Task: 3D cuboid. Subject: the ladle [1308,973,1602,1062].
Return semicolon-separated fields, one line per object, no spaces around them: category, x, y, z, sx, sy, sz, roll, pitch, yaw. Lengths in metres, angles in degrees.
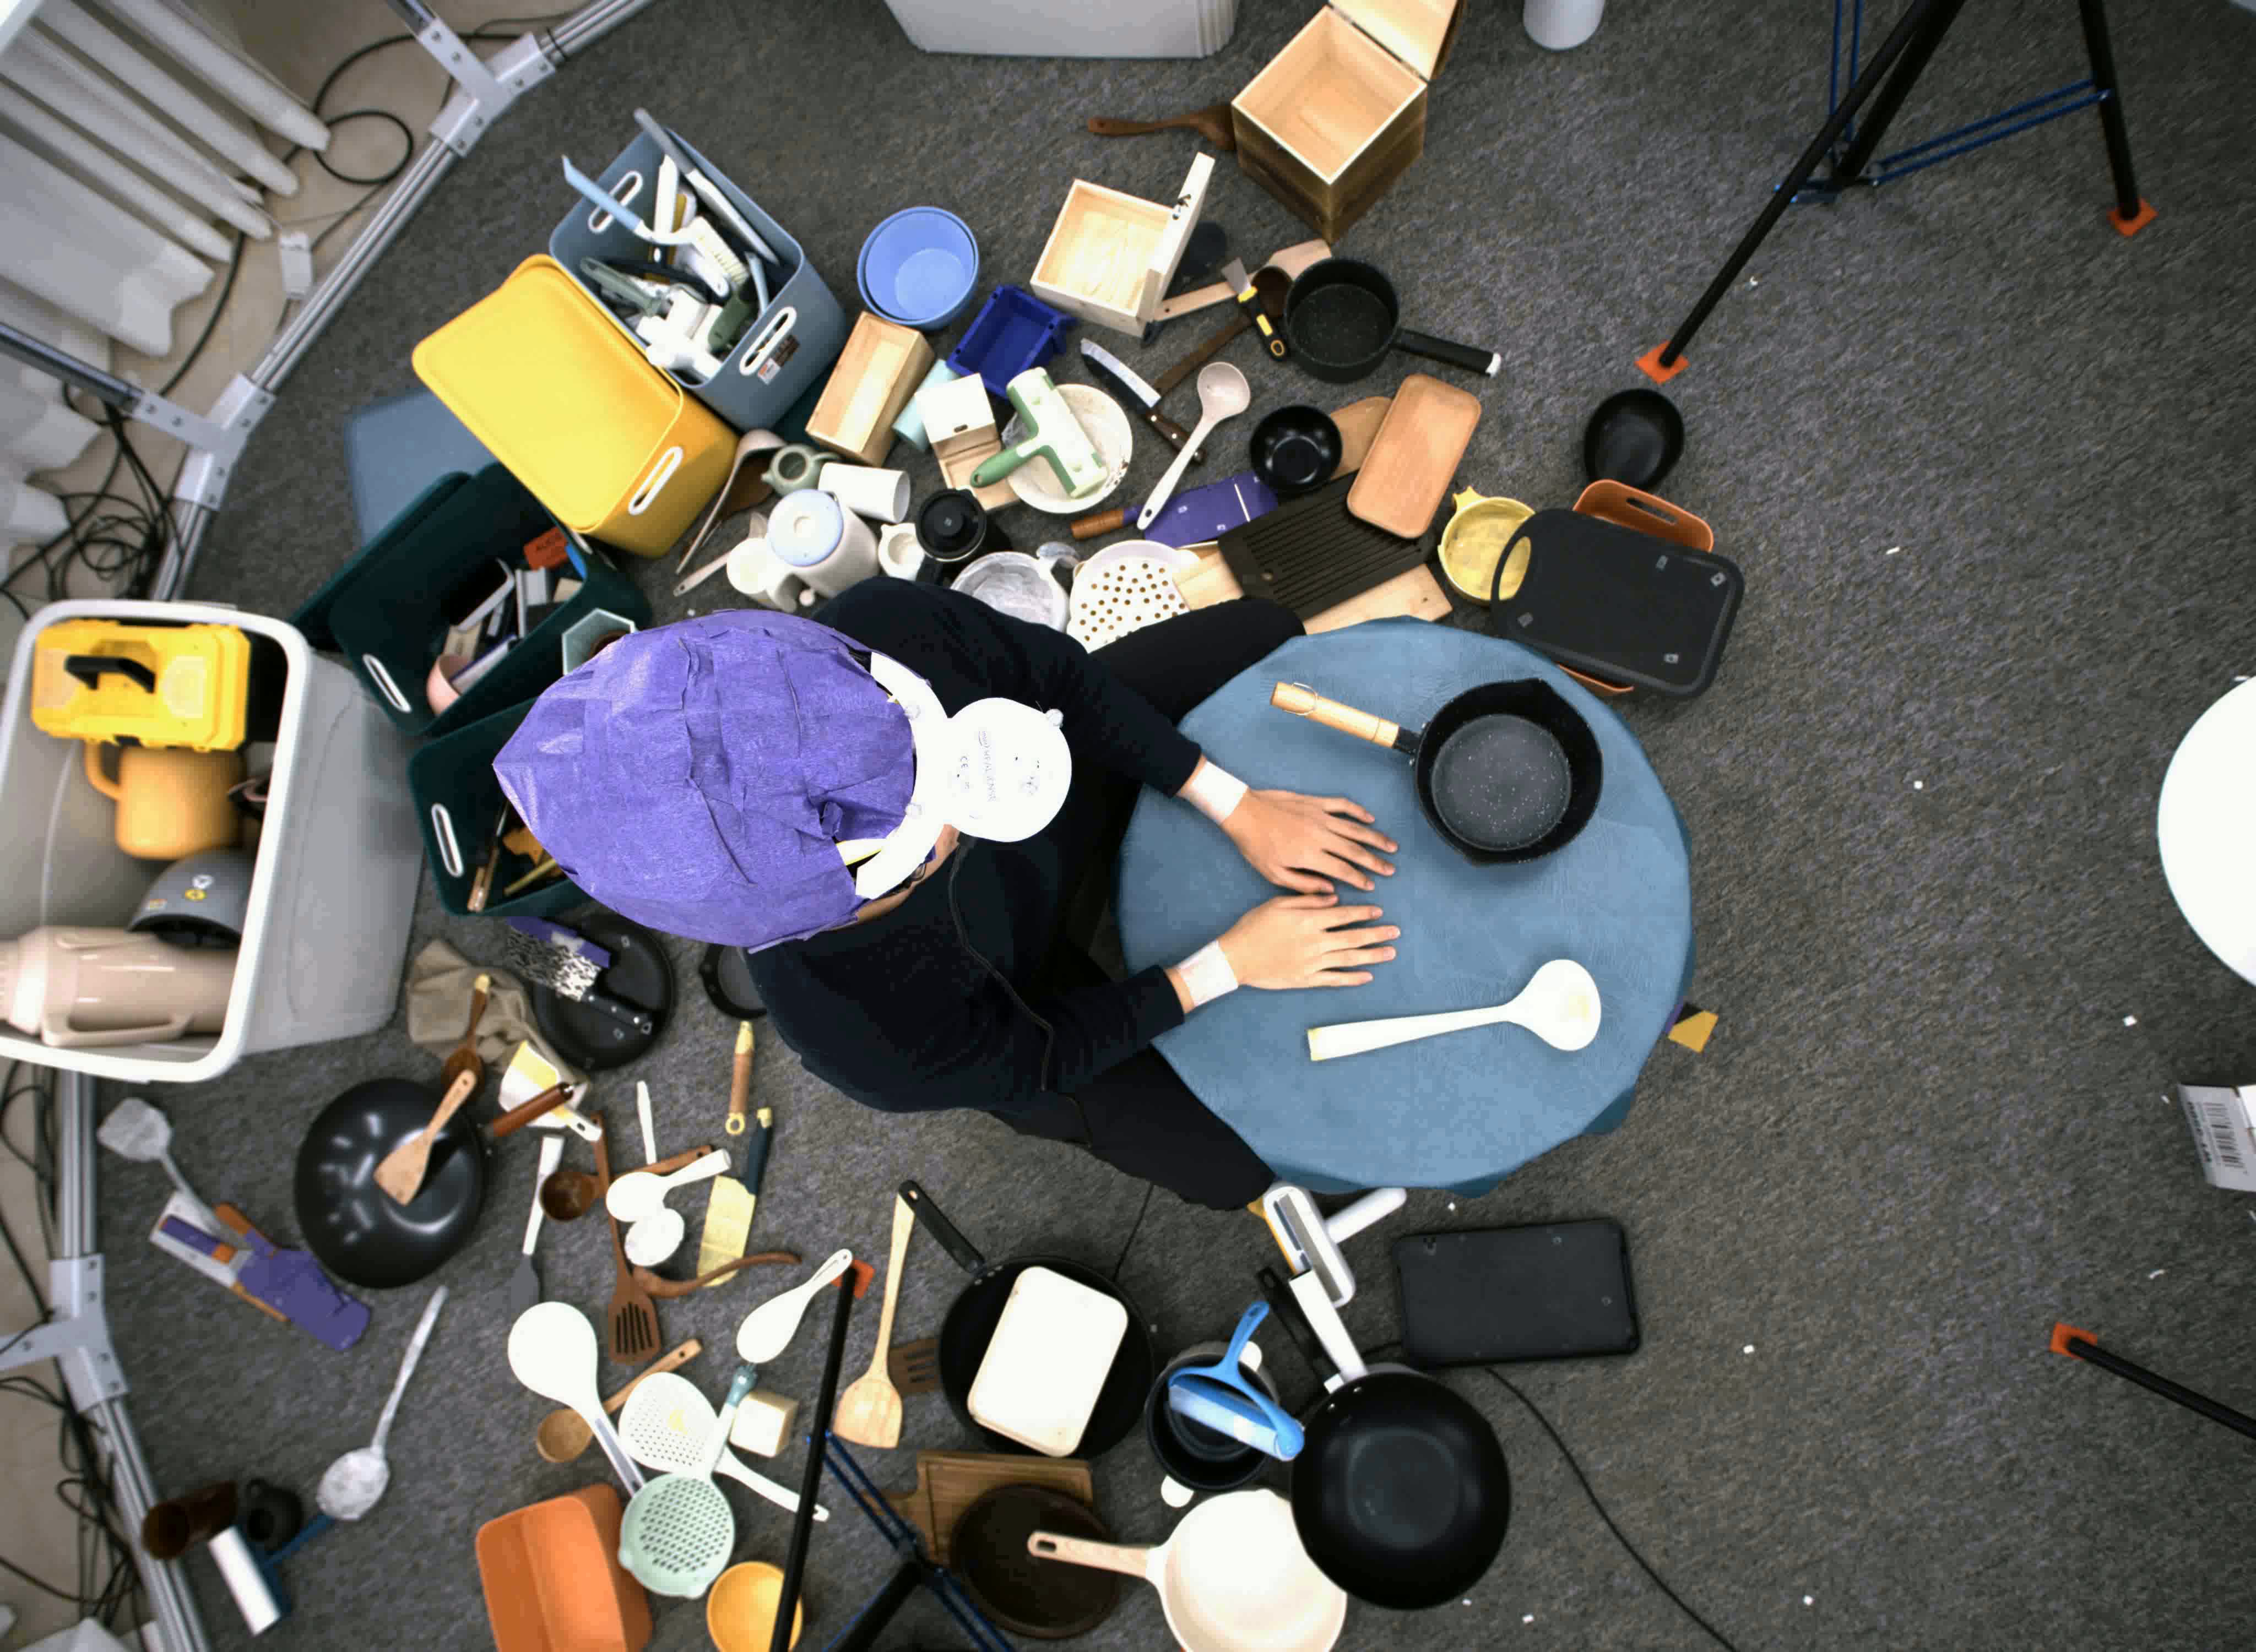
ladle;0.329;0.207;1.409;0.294;0.069;0.090;-9;91;11

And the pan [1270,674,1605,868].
pan;0.309;-0.077;1.406;0.343;0.108;0.207;18;91;10
